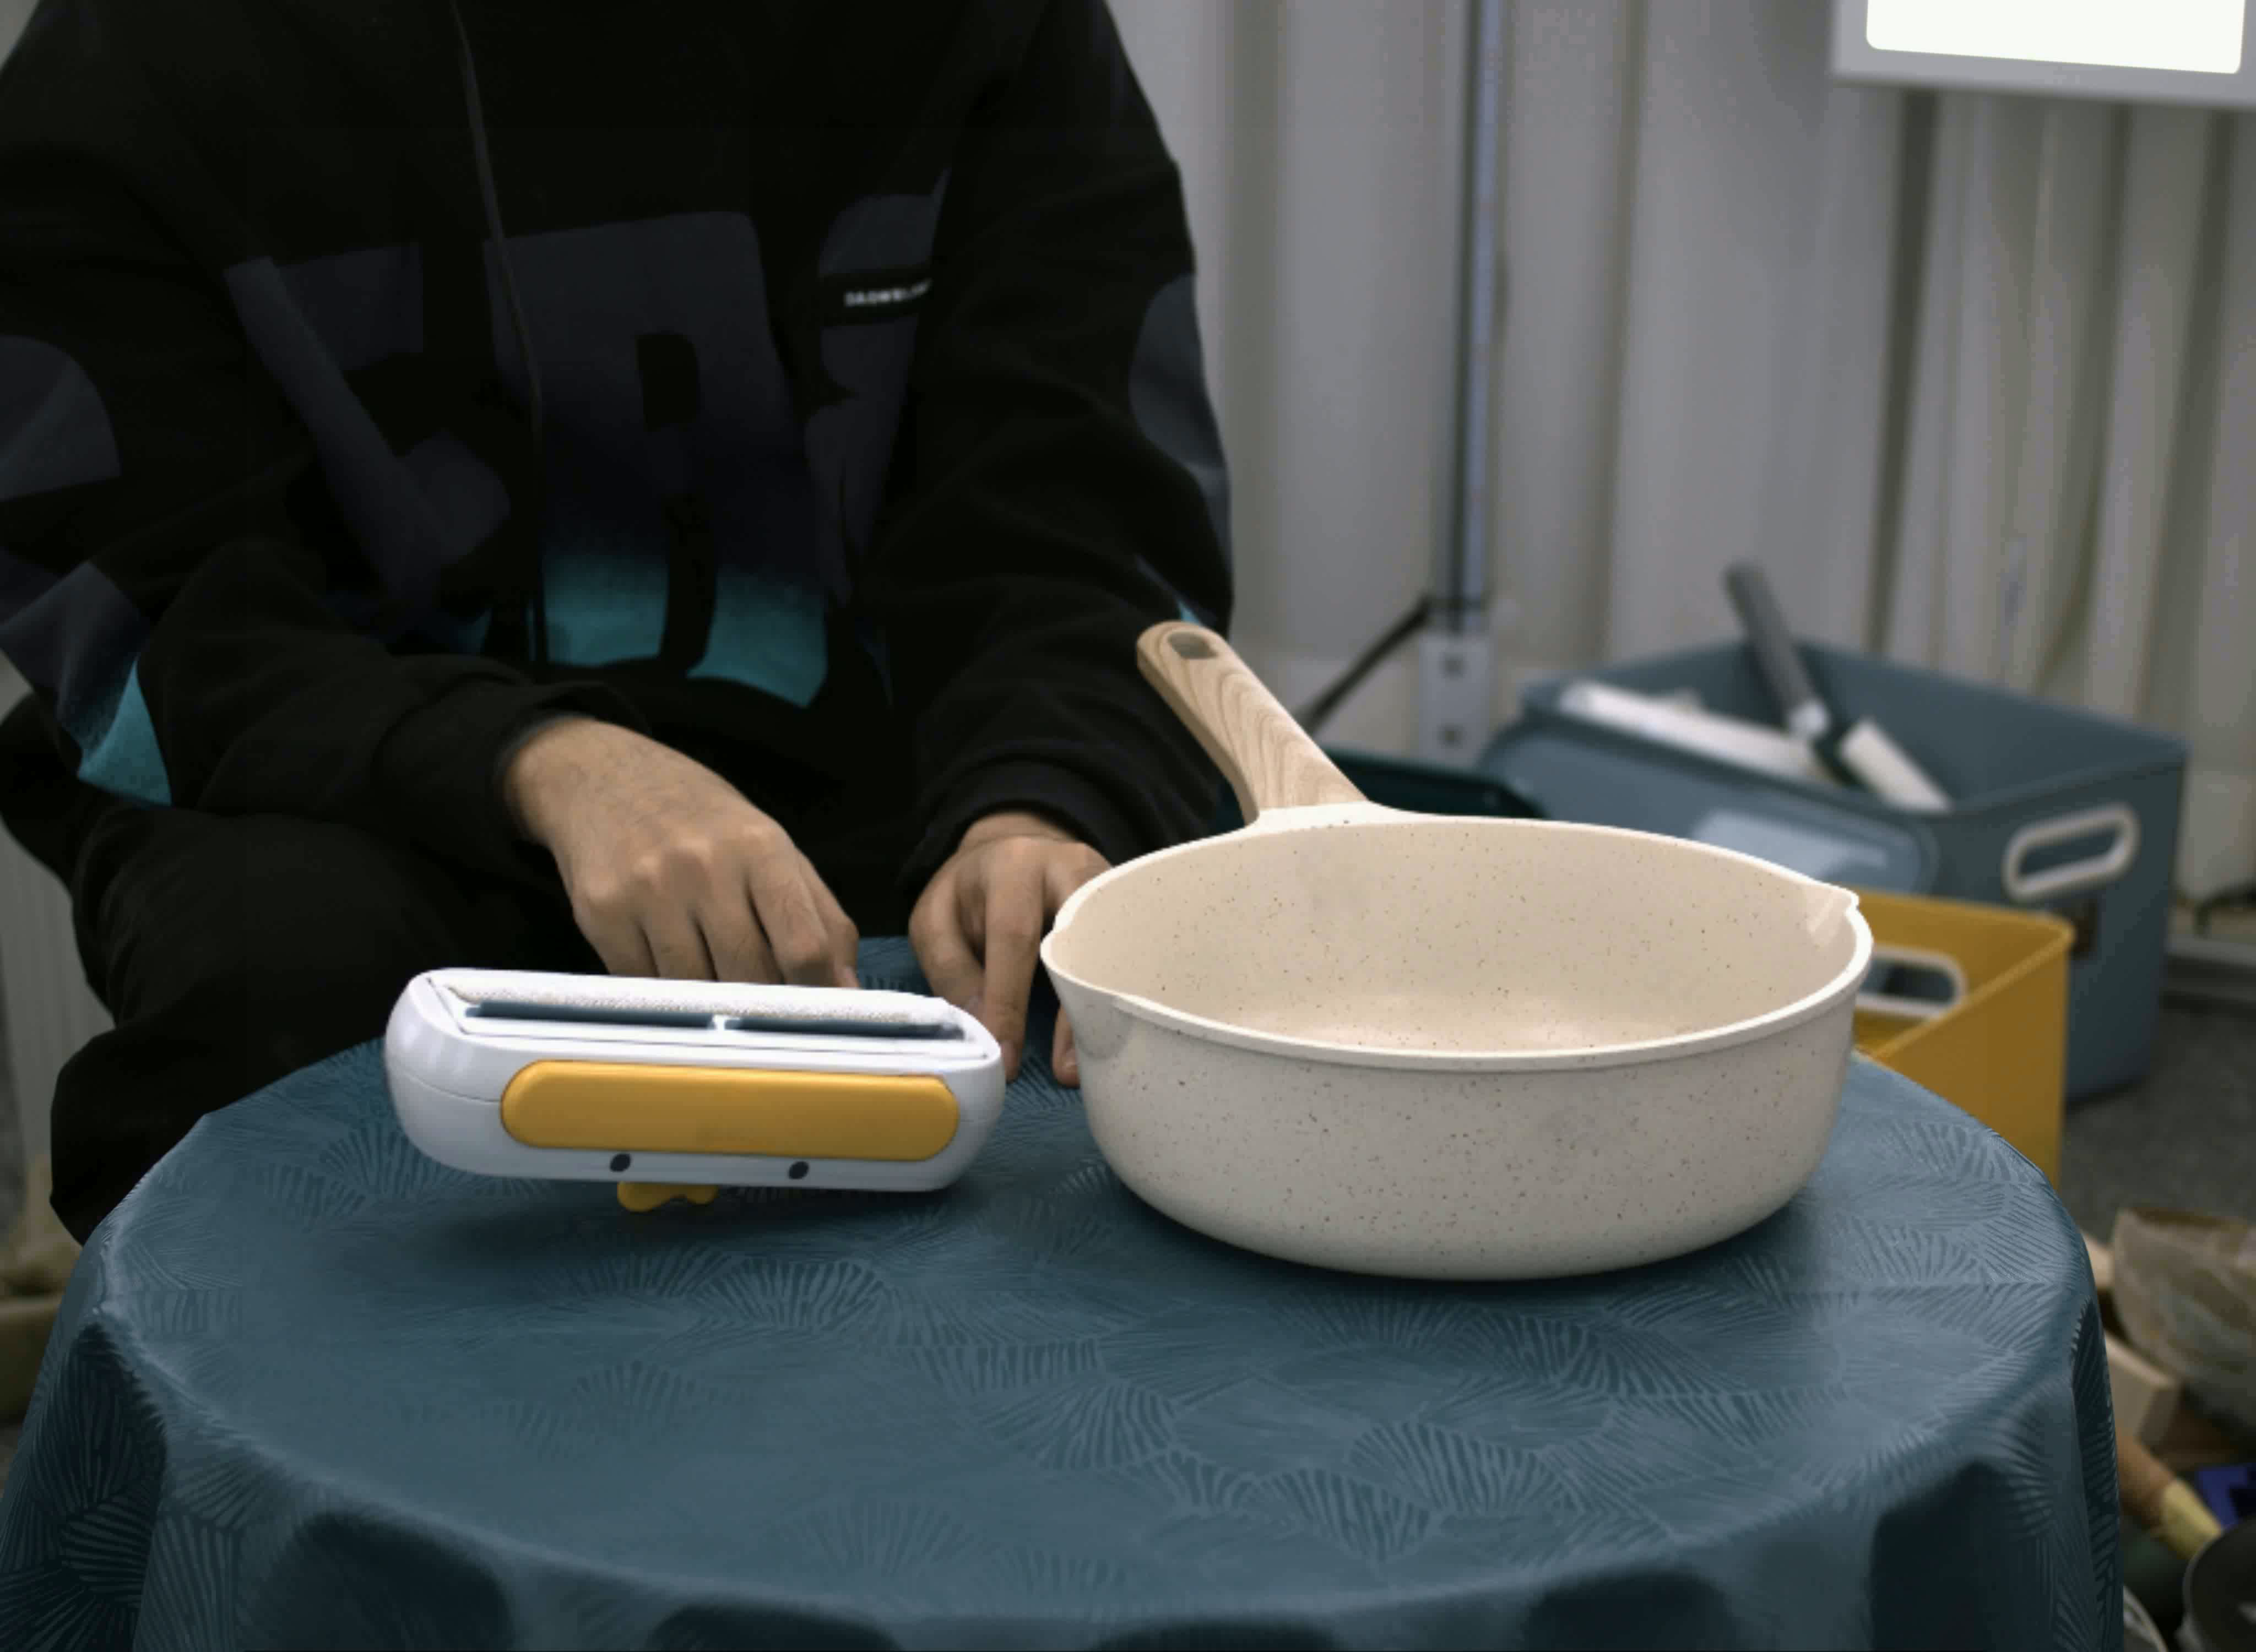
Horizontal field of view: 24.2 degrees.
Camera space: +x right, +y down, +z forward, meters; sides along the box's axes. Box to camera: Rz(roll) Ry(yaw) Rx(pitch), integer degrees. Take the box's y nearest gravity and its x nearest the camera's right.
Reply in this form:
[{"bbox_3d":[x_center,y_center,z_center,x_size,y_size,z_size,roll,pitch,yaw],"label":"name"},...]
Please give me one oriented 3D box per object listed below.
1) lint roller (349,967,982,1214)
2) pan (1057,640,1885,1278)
[{"bbox_3d":[-0.158,0.071,1.639,0.193,0.074,0.190,0,12,-21],"label":"lint roller"},{"bbox_3d":[0.080,0.038,1.705,0.264,0.103,0.430,-7,17,-16],"label":"pan"}]
